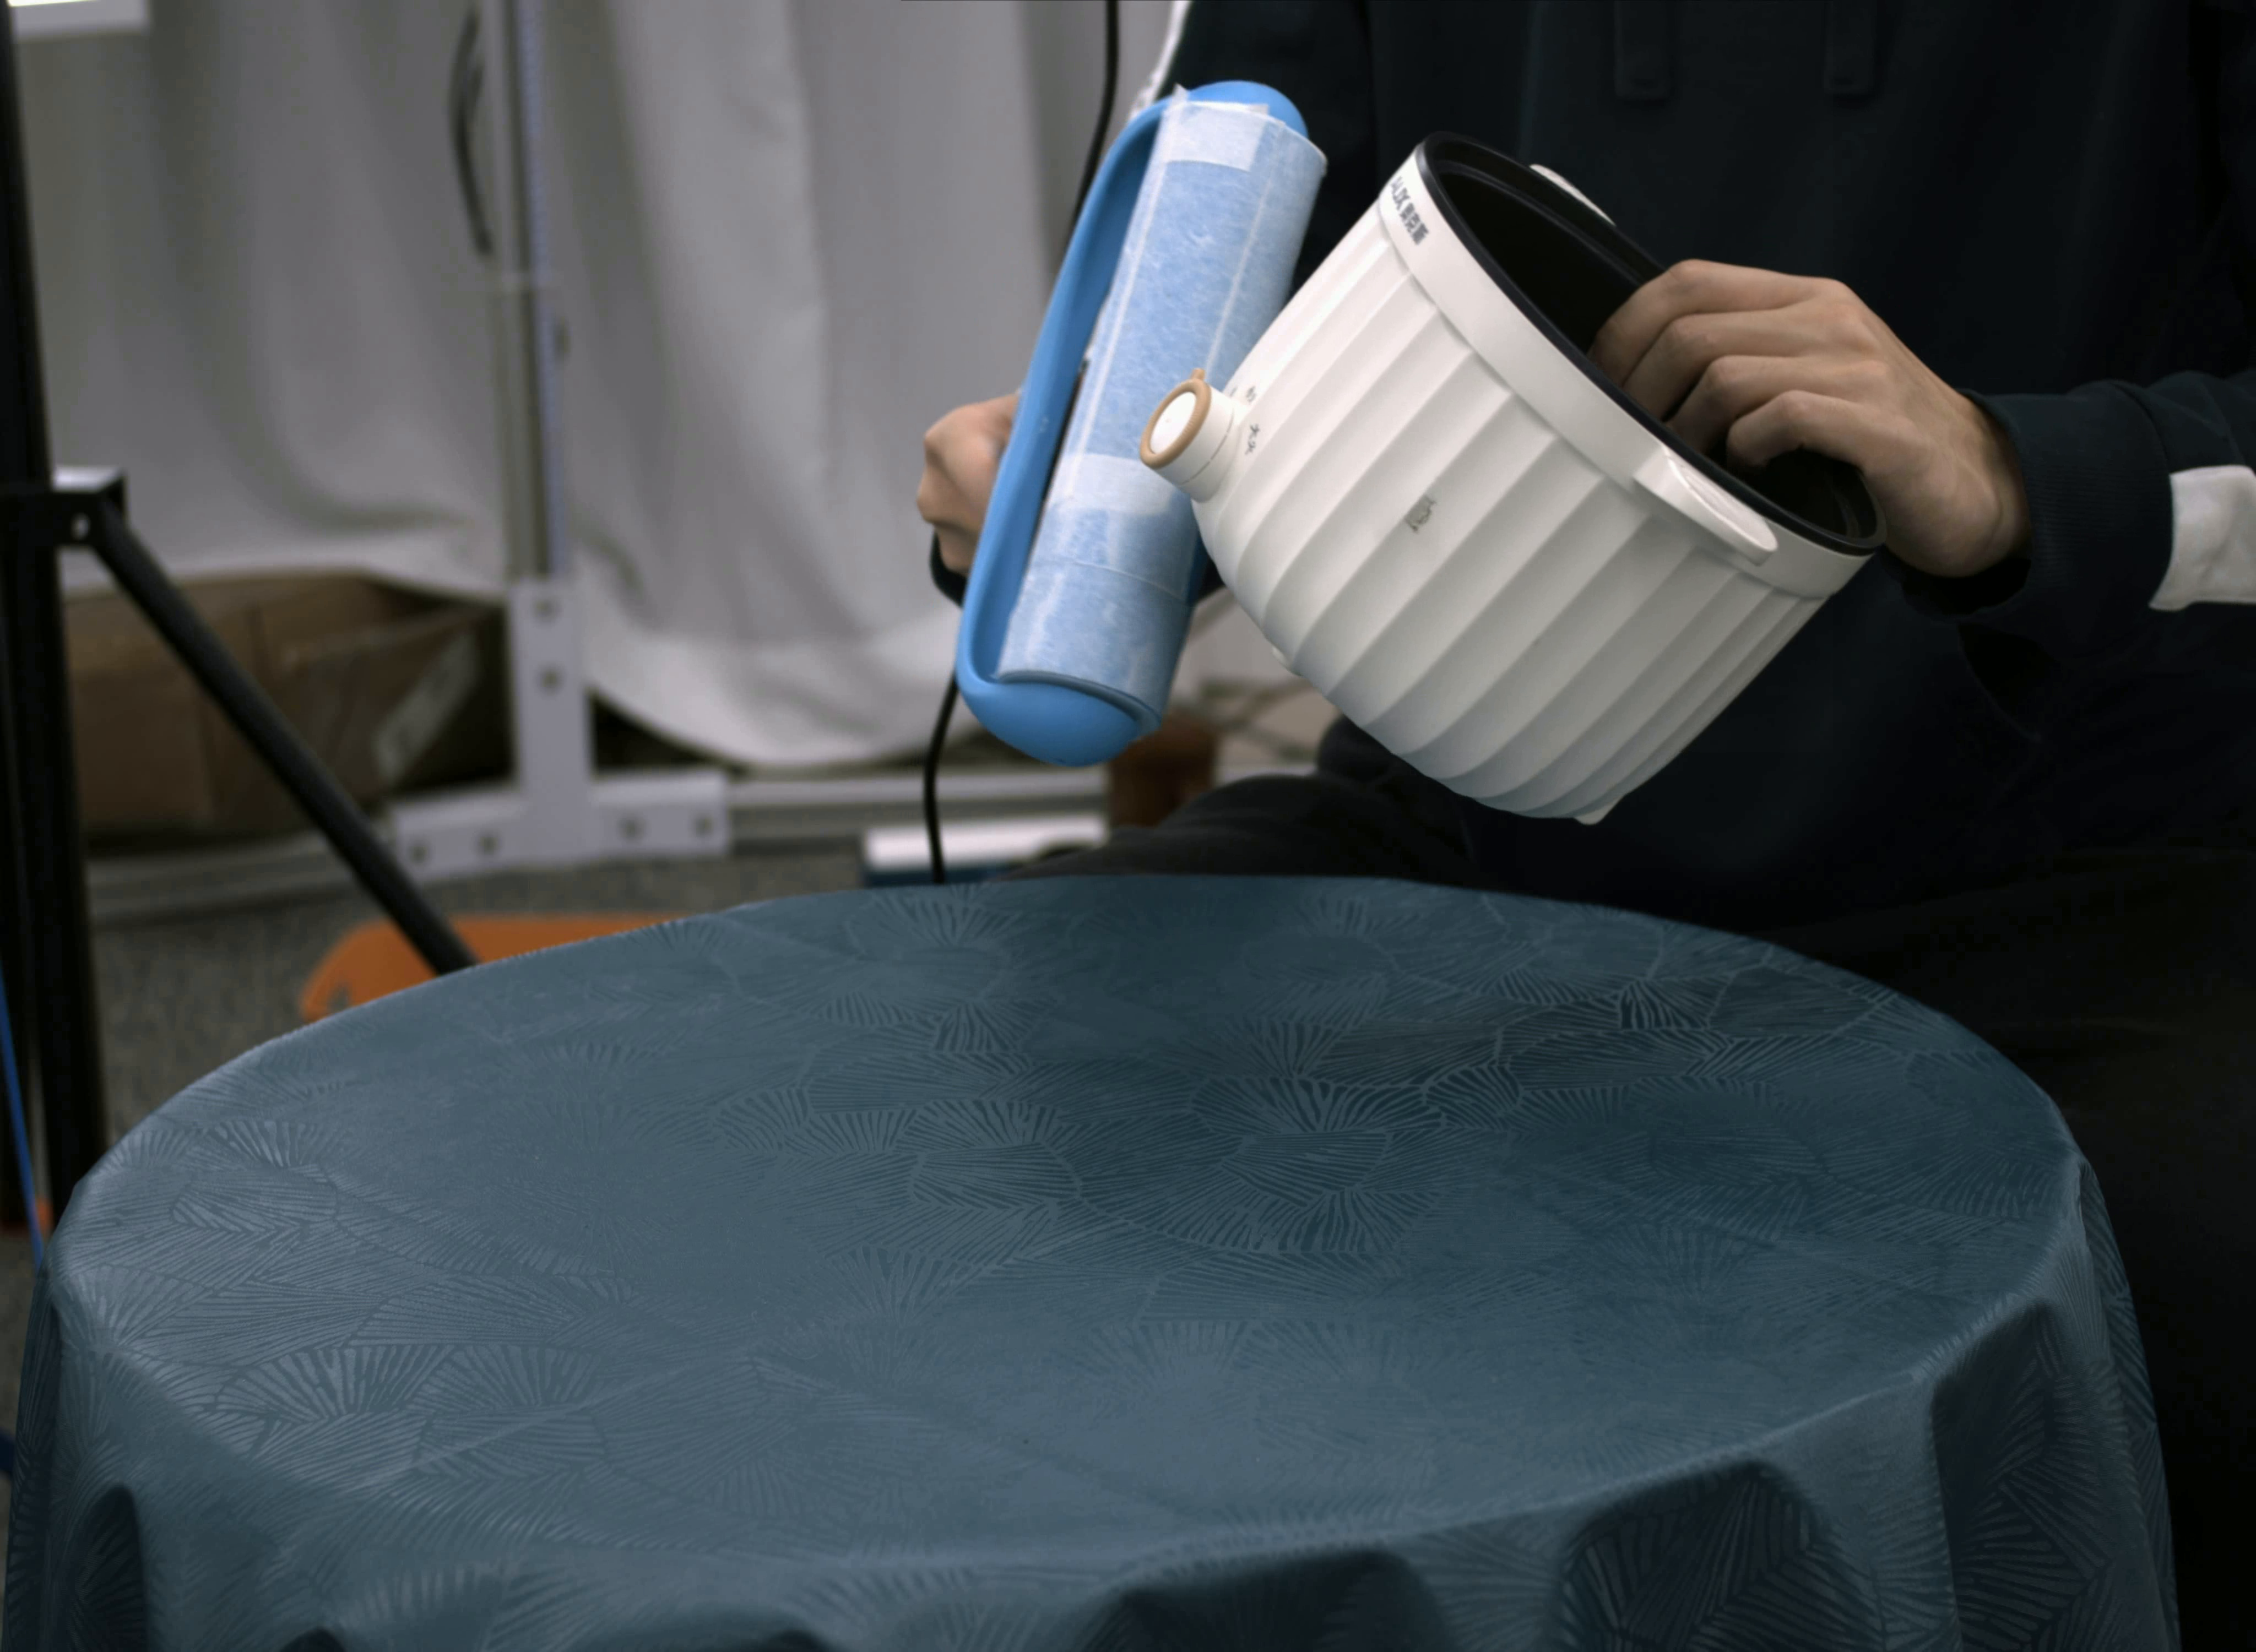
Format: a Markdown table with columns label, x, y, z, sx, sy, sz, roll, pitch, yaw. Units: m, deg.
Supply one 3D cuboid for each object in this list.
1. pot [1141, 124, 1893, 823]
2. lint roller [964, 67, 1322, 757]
| label | x | y | z | sx | sy | sz | roll | pitch | yaw |
| --- | --- | --- | --- | --- | --- | --- | --- | --- | --- |
| pot | 0.110 | -0.099 | 1.582 | 0.187 | 0.143 | 0.243 | 36 | 18 | -25 |
| lint roller | -0.008 | -0.115 | 1.699 | 0.067 | 0.230 | 0.182 | 18 | -19 | -14 |
